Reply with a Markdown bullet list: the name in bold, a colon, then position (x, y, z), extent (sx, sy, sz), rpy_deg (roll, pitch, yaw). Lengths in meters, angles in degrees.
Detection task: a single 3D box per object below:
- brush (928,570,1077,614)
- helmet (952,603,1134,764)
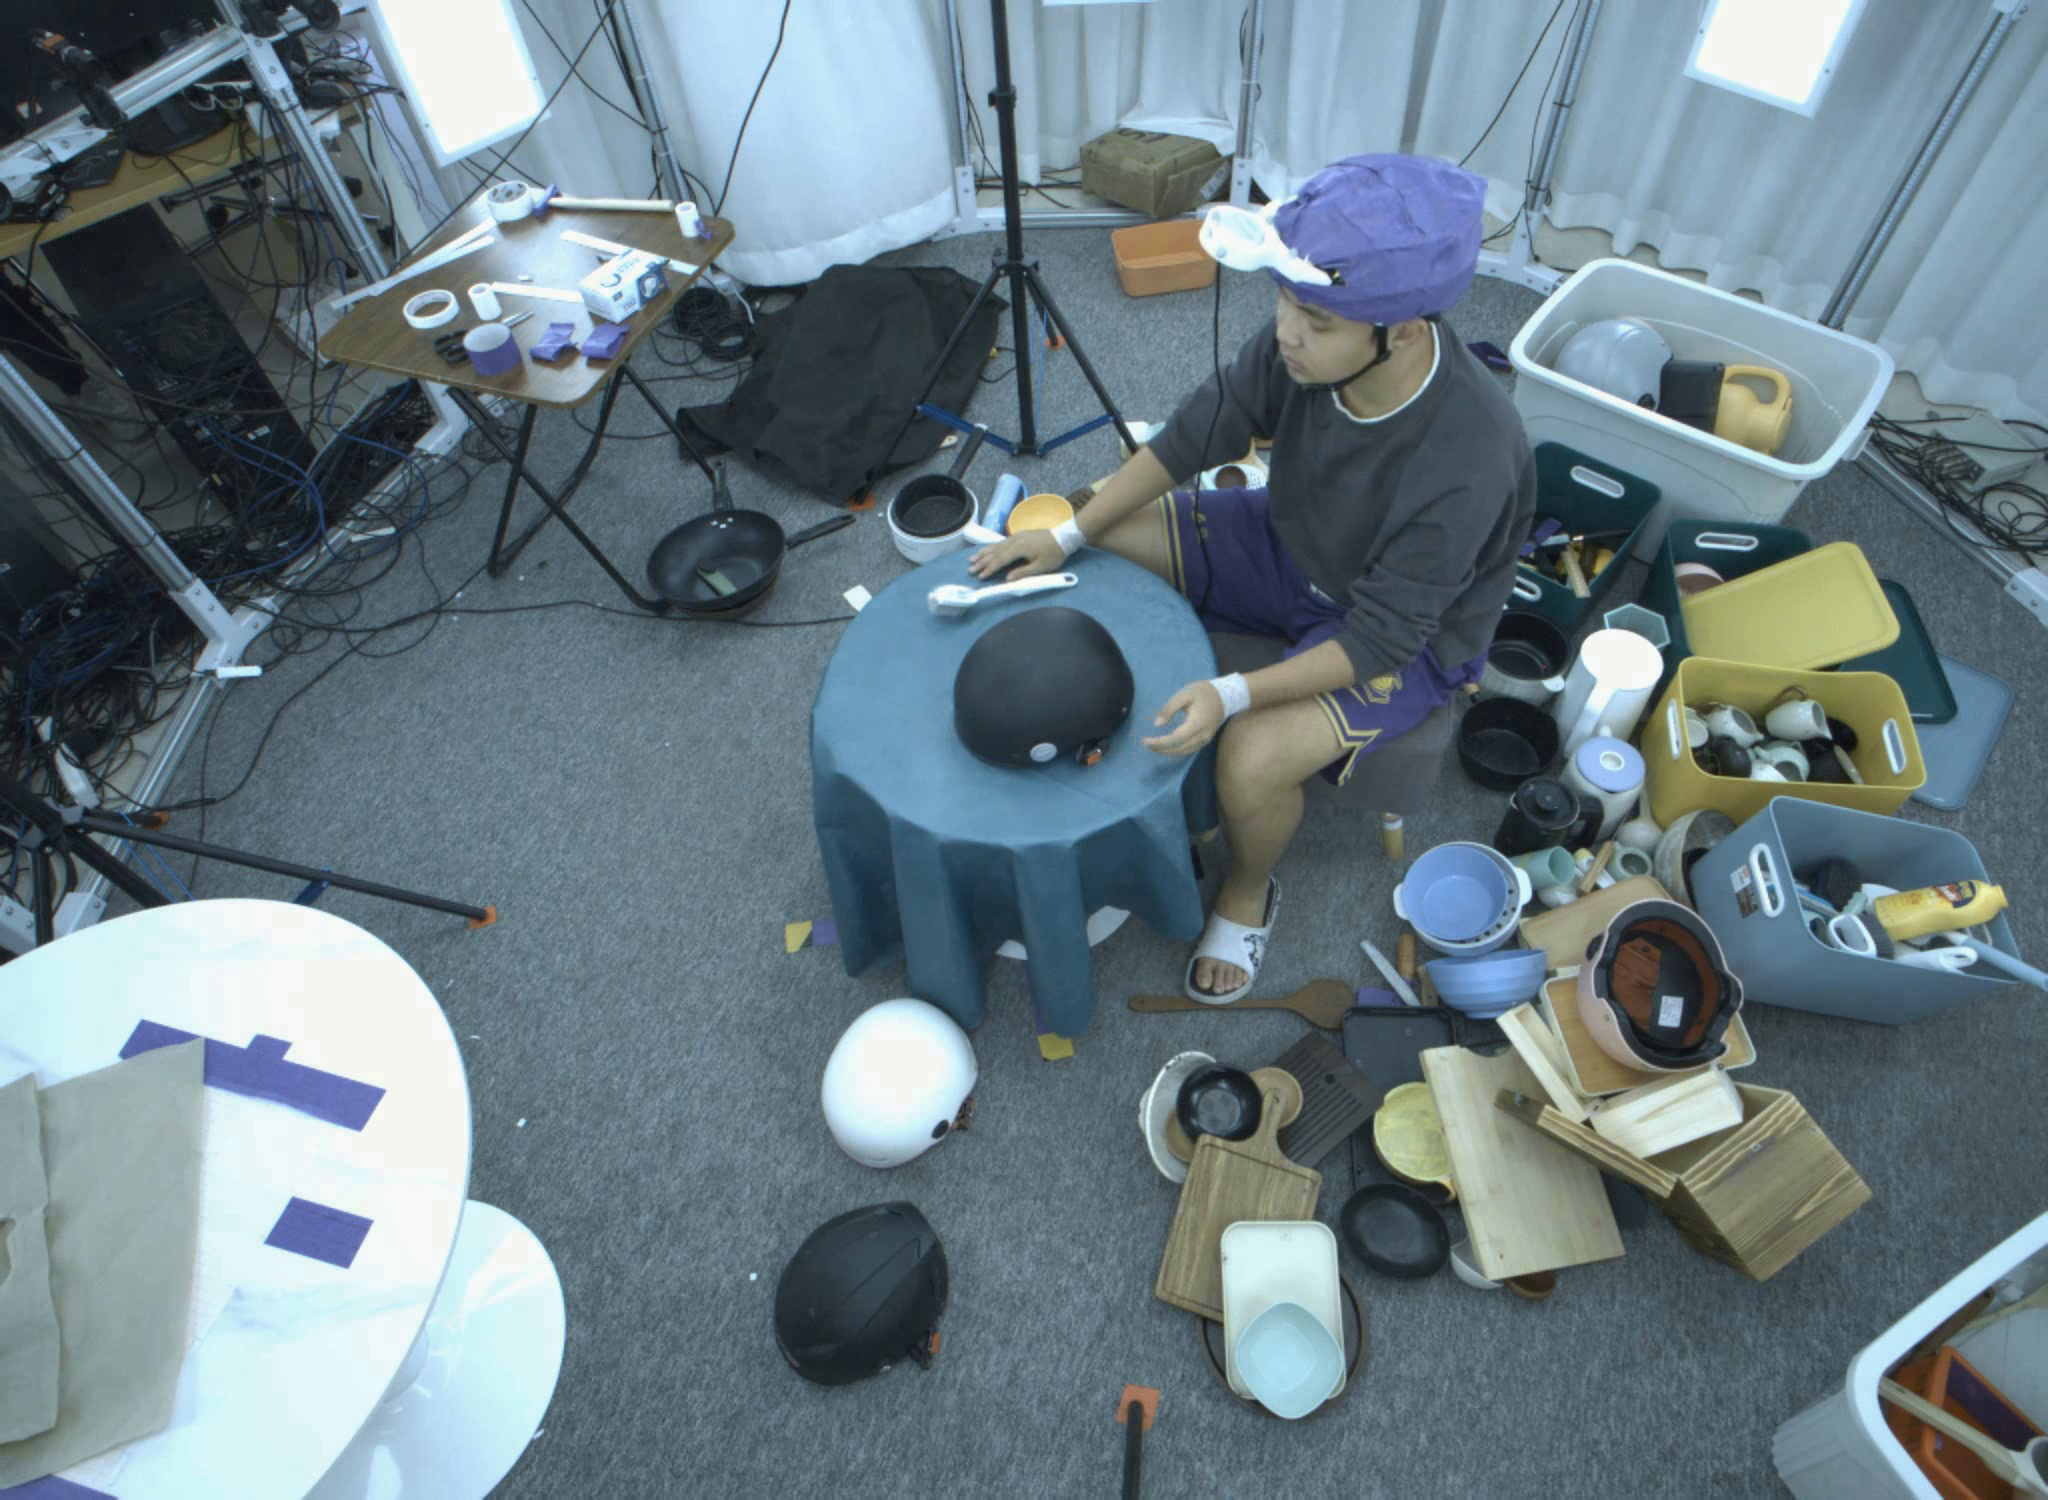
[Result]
- **brush**: position (-0.034, -0.251, 1.955), extent (0.247, 0.050, 0.034), rpy_deg (-10, 62, -20)
- **helmet**: position (0.020, -0.112, 1.772), extent (0.274, 0.169, 0.226), rpy_deg (-18, 53, -8)
